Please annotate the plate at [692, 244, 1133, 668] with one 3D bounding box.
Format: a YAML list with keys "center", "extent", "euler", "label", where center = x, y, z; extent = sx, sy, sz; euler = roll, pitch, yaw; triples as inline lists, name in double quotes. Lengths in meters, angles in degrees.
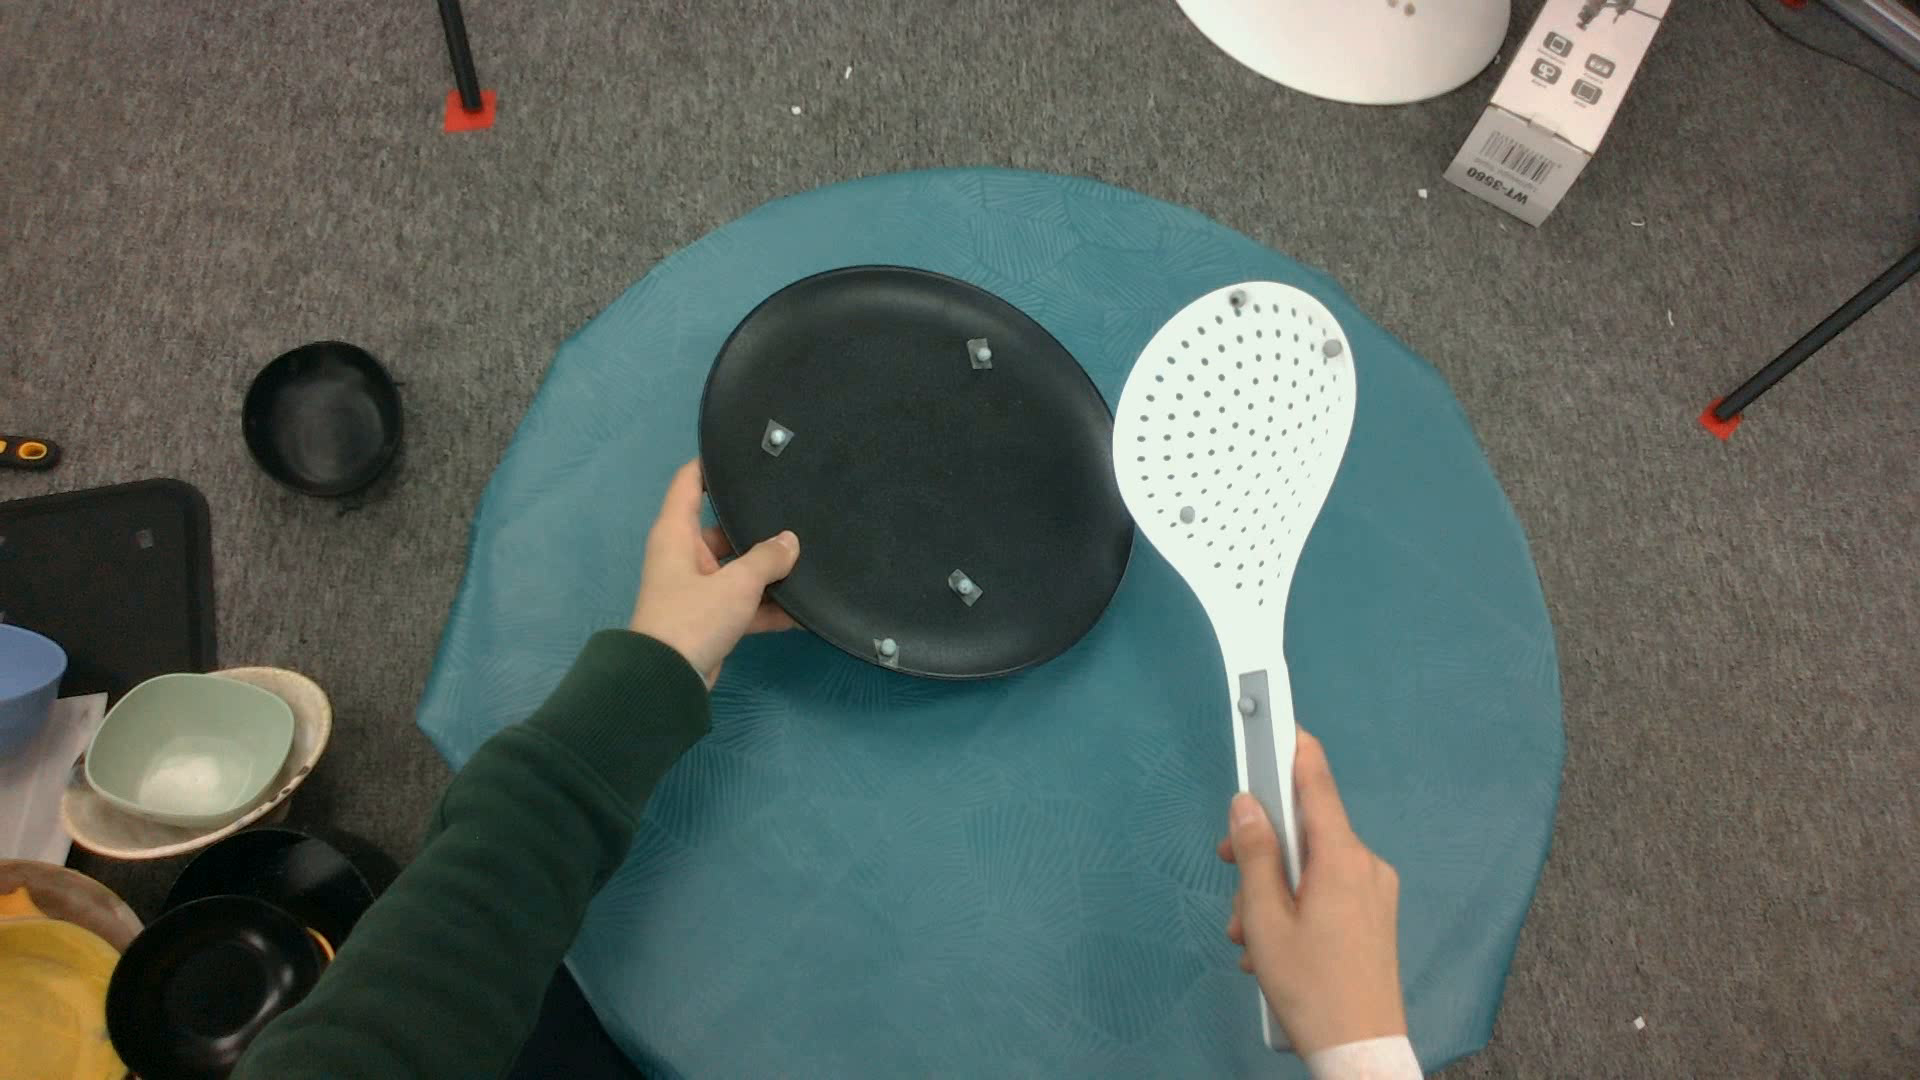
- center: [-0.021, -0.046, 0.722]
  extent: [0.245, 0.023, 0.245]
  euler: [10, 64, -20]
  label: "plate"

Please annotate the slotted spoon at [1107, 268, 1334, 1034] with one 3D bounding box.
- center: [0.132, 0.040, 0.630]
  extent: [0.046, 0.135, 0.351]
  euler: [17, 63, -38]
  label: "slotted spoon"
